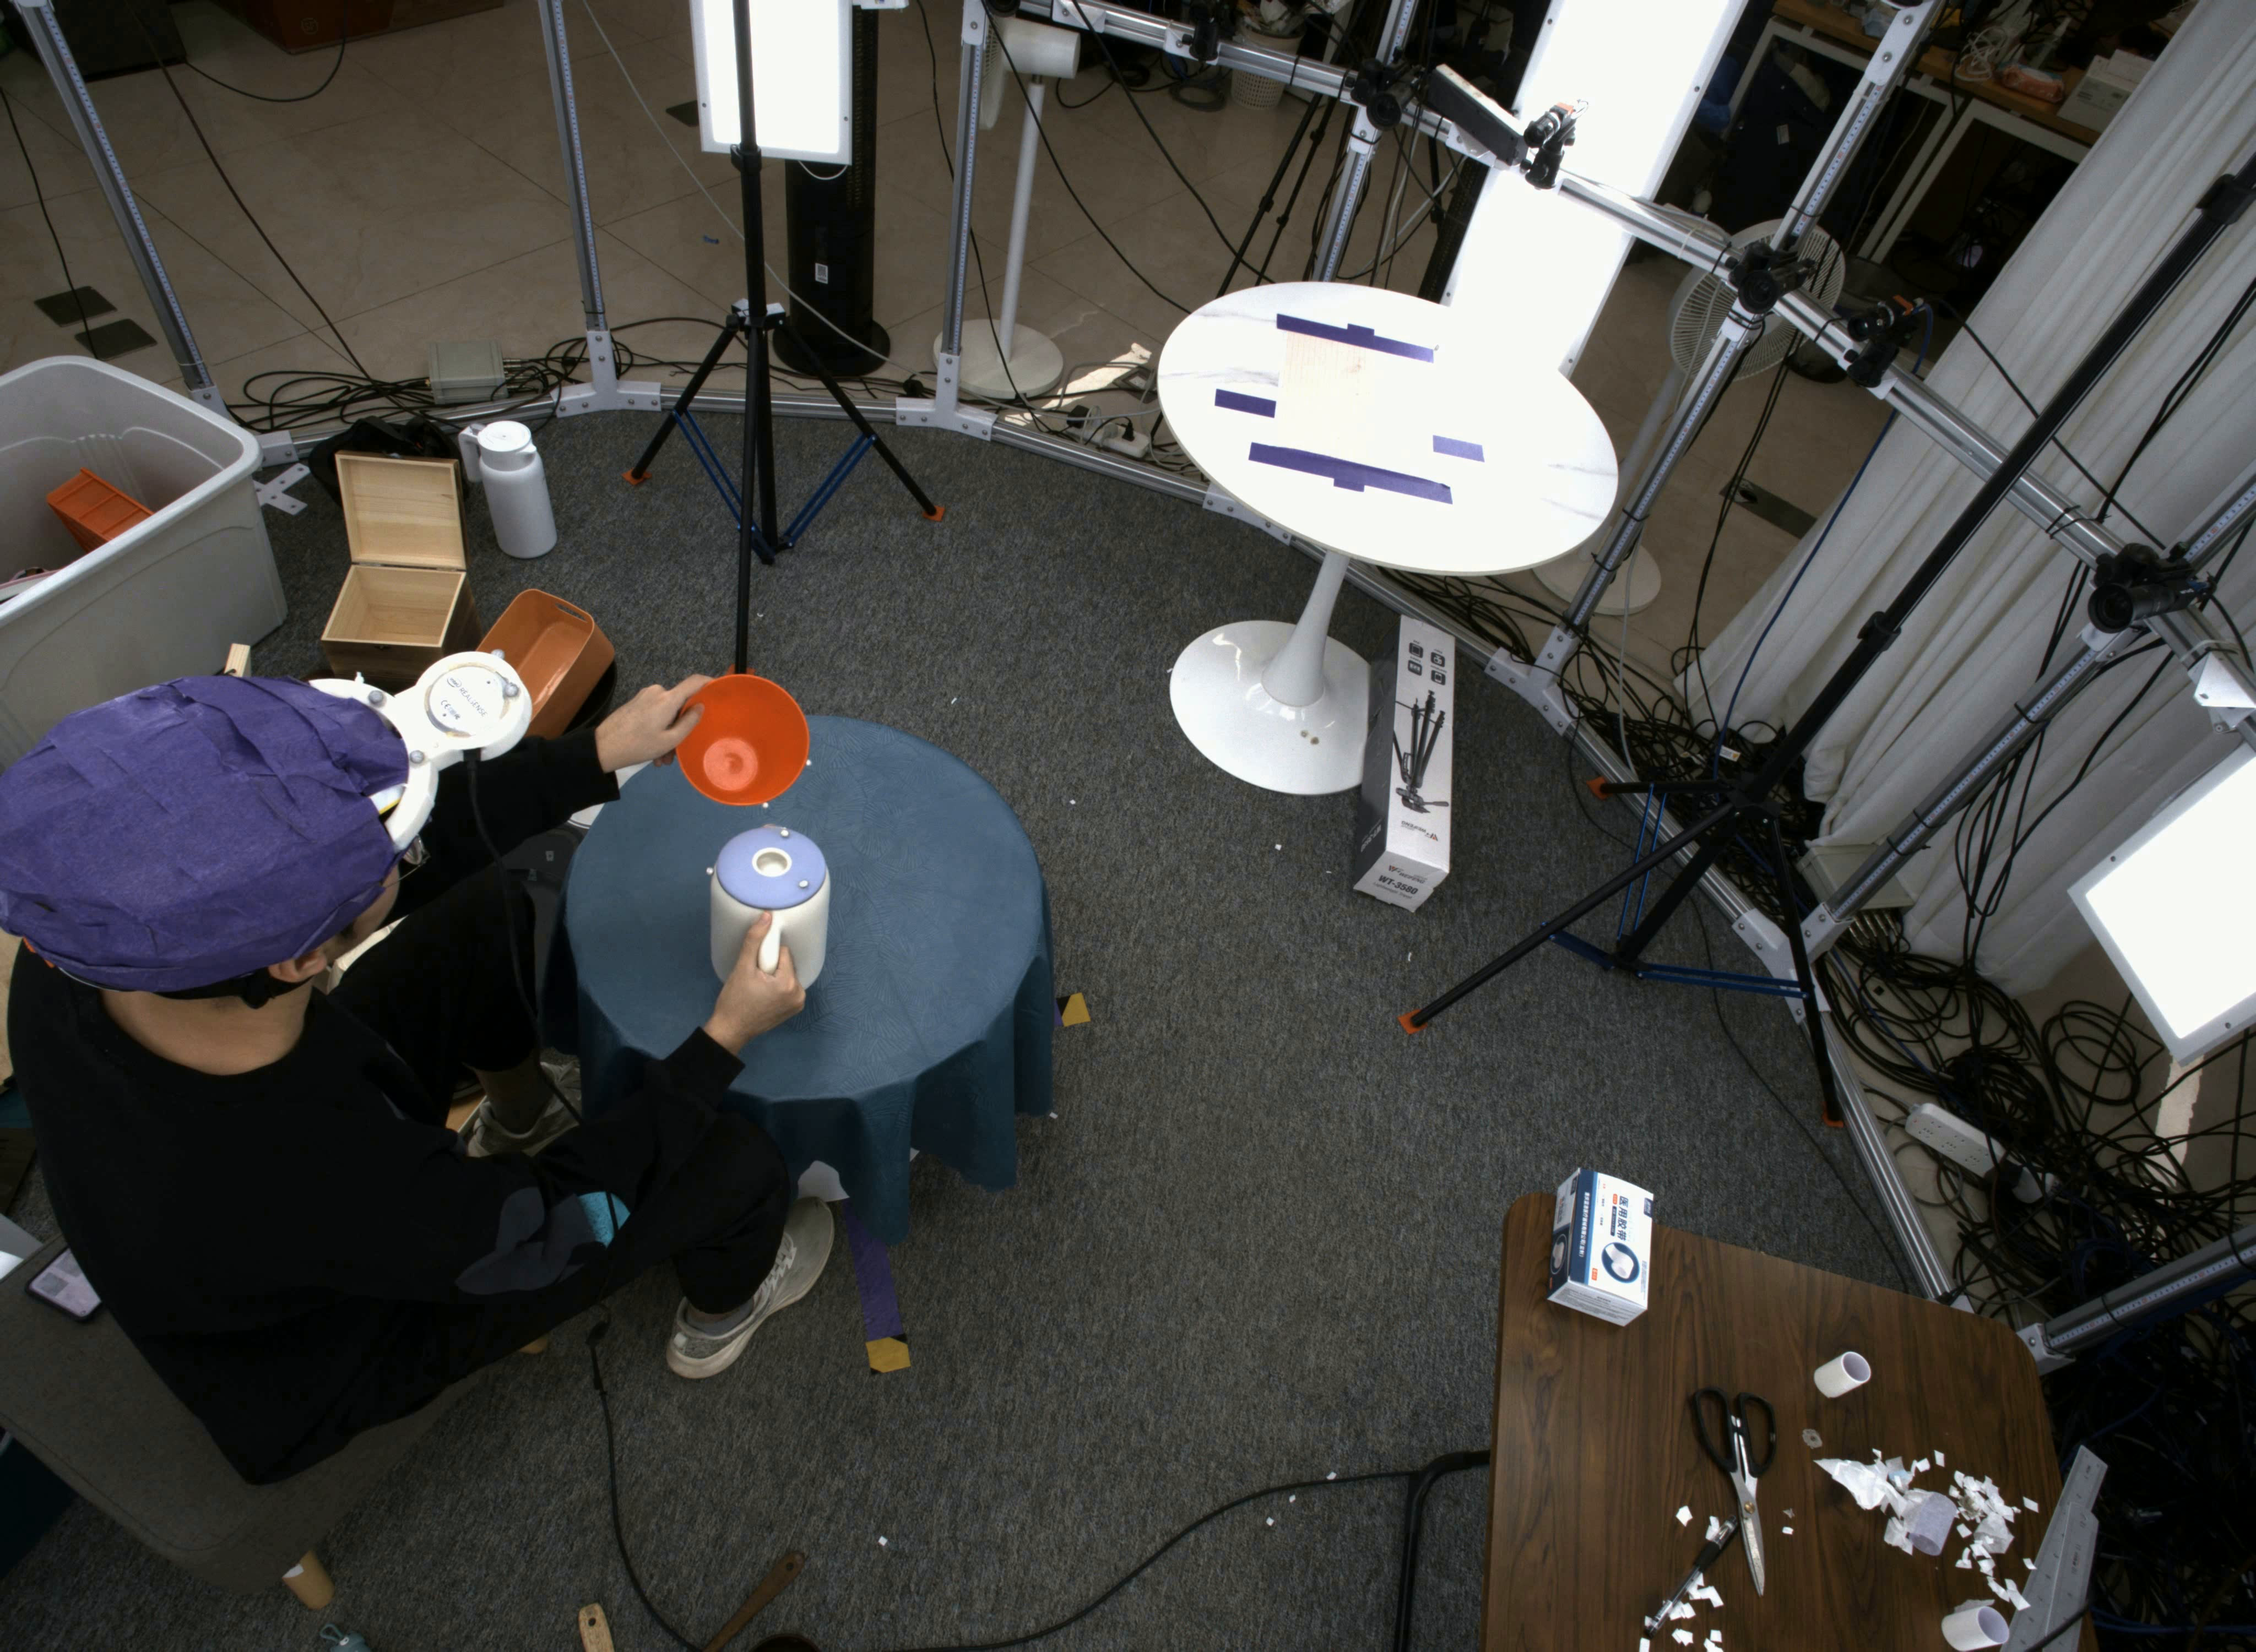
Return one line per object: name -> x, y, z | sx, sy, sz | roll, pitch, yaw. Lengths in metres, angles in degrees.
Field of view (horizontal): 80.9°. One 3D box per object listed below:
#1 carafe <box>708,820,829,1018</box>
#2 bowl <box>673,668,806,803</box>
carafe -> -0.407, 0.116, 1.463 | 0.133, 0.186, 0.186 | 0, 50, -17
bowl -> -0.451, -0.094, 1.487 | 0.150, 0.103, 0.148 | 5, 79, -23
